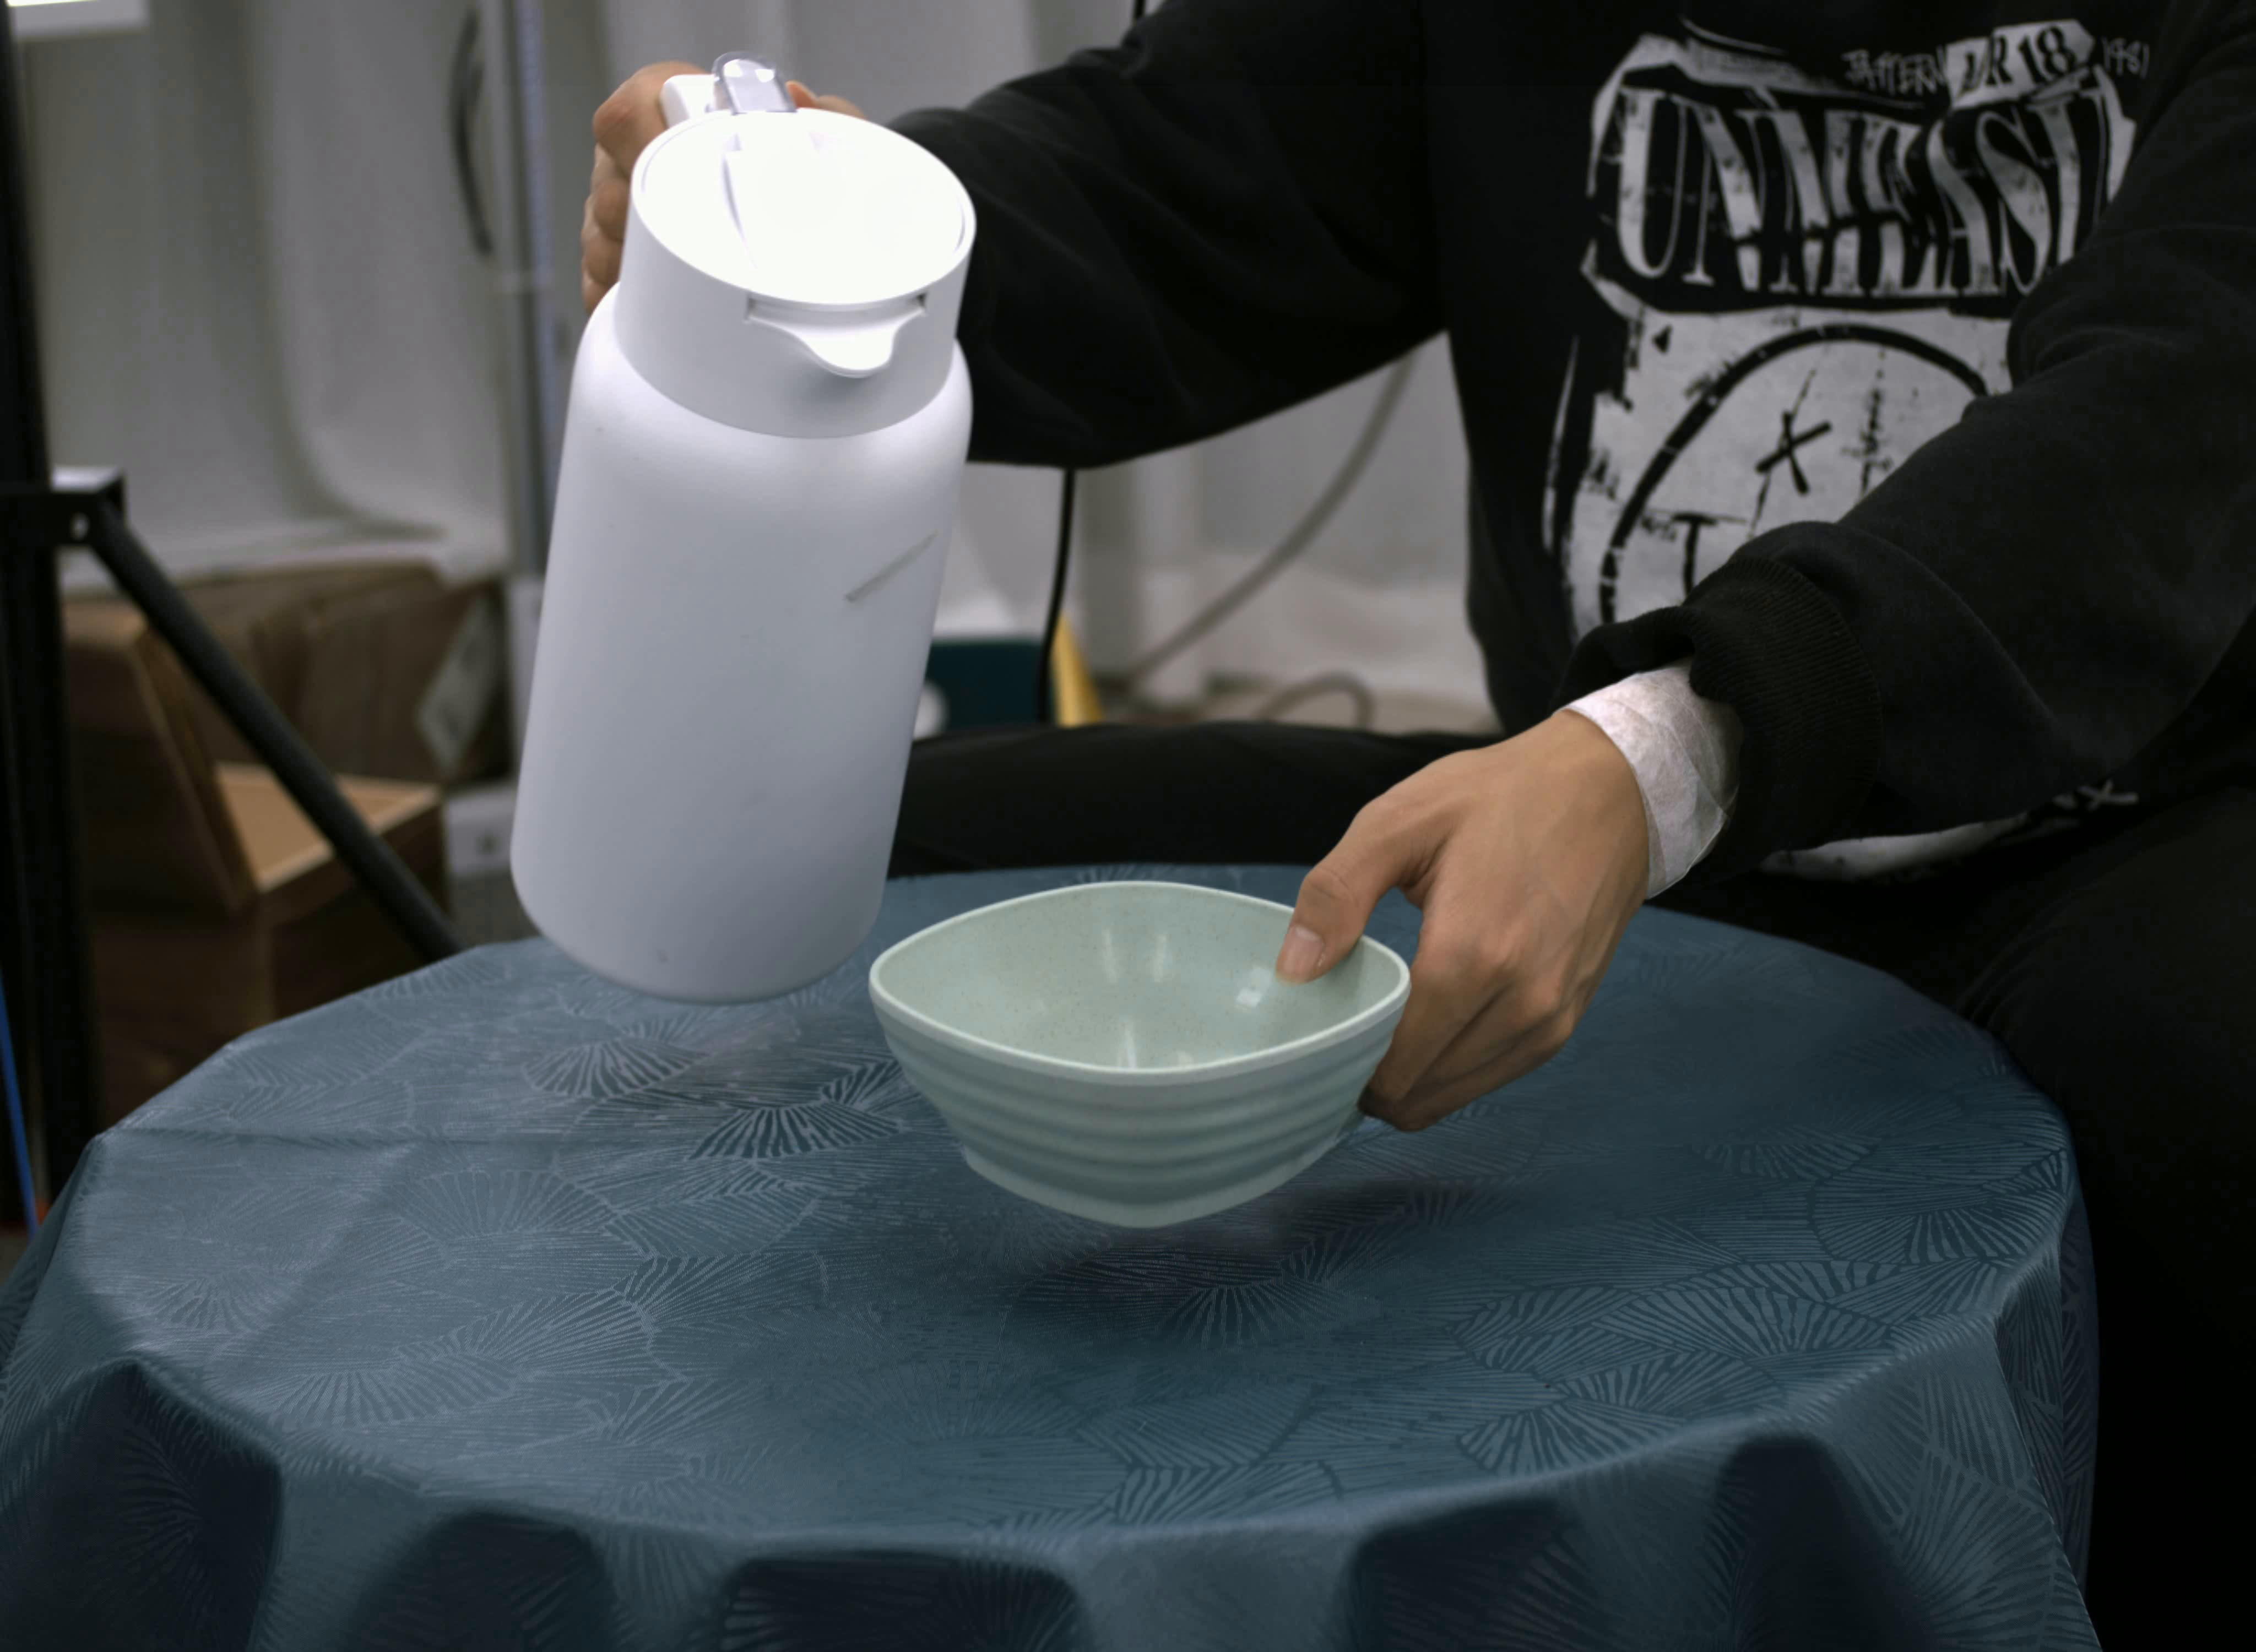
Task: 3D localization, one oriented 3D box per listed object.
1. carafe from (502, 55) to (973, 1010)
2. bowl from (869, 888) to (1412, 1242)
[{"bbox_3d":[-0.122,-0.089,1.601,0.121,0.268,0.176,-6,42,-19],"label":"carafe"},{"bbox_3d":[0.003,0.070,1.481,0.150,0.058,0.152,0,19,-1],"label":"bowl"}]
